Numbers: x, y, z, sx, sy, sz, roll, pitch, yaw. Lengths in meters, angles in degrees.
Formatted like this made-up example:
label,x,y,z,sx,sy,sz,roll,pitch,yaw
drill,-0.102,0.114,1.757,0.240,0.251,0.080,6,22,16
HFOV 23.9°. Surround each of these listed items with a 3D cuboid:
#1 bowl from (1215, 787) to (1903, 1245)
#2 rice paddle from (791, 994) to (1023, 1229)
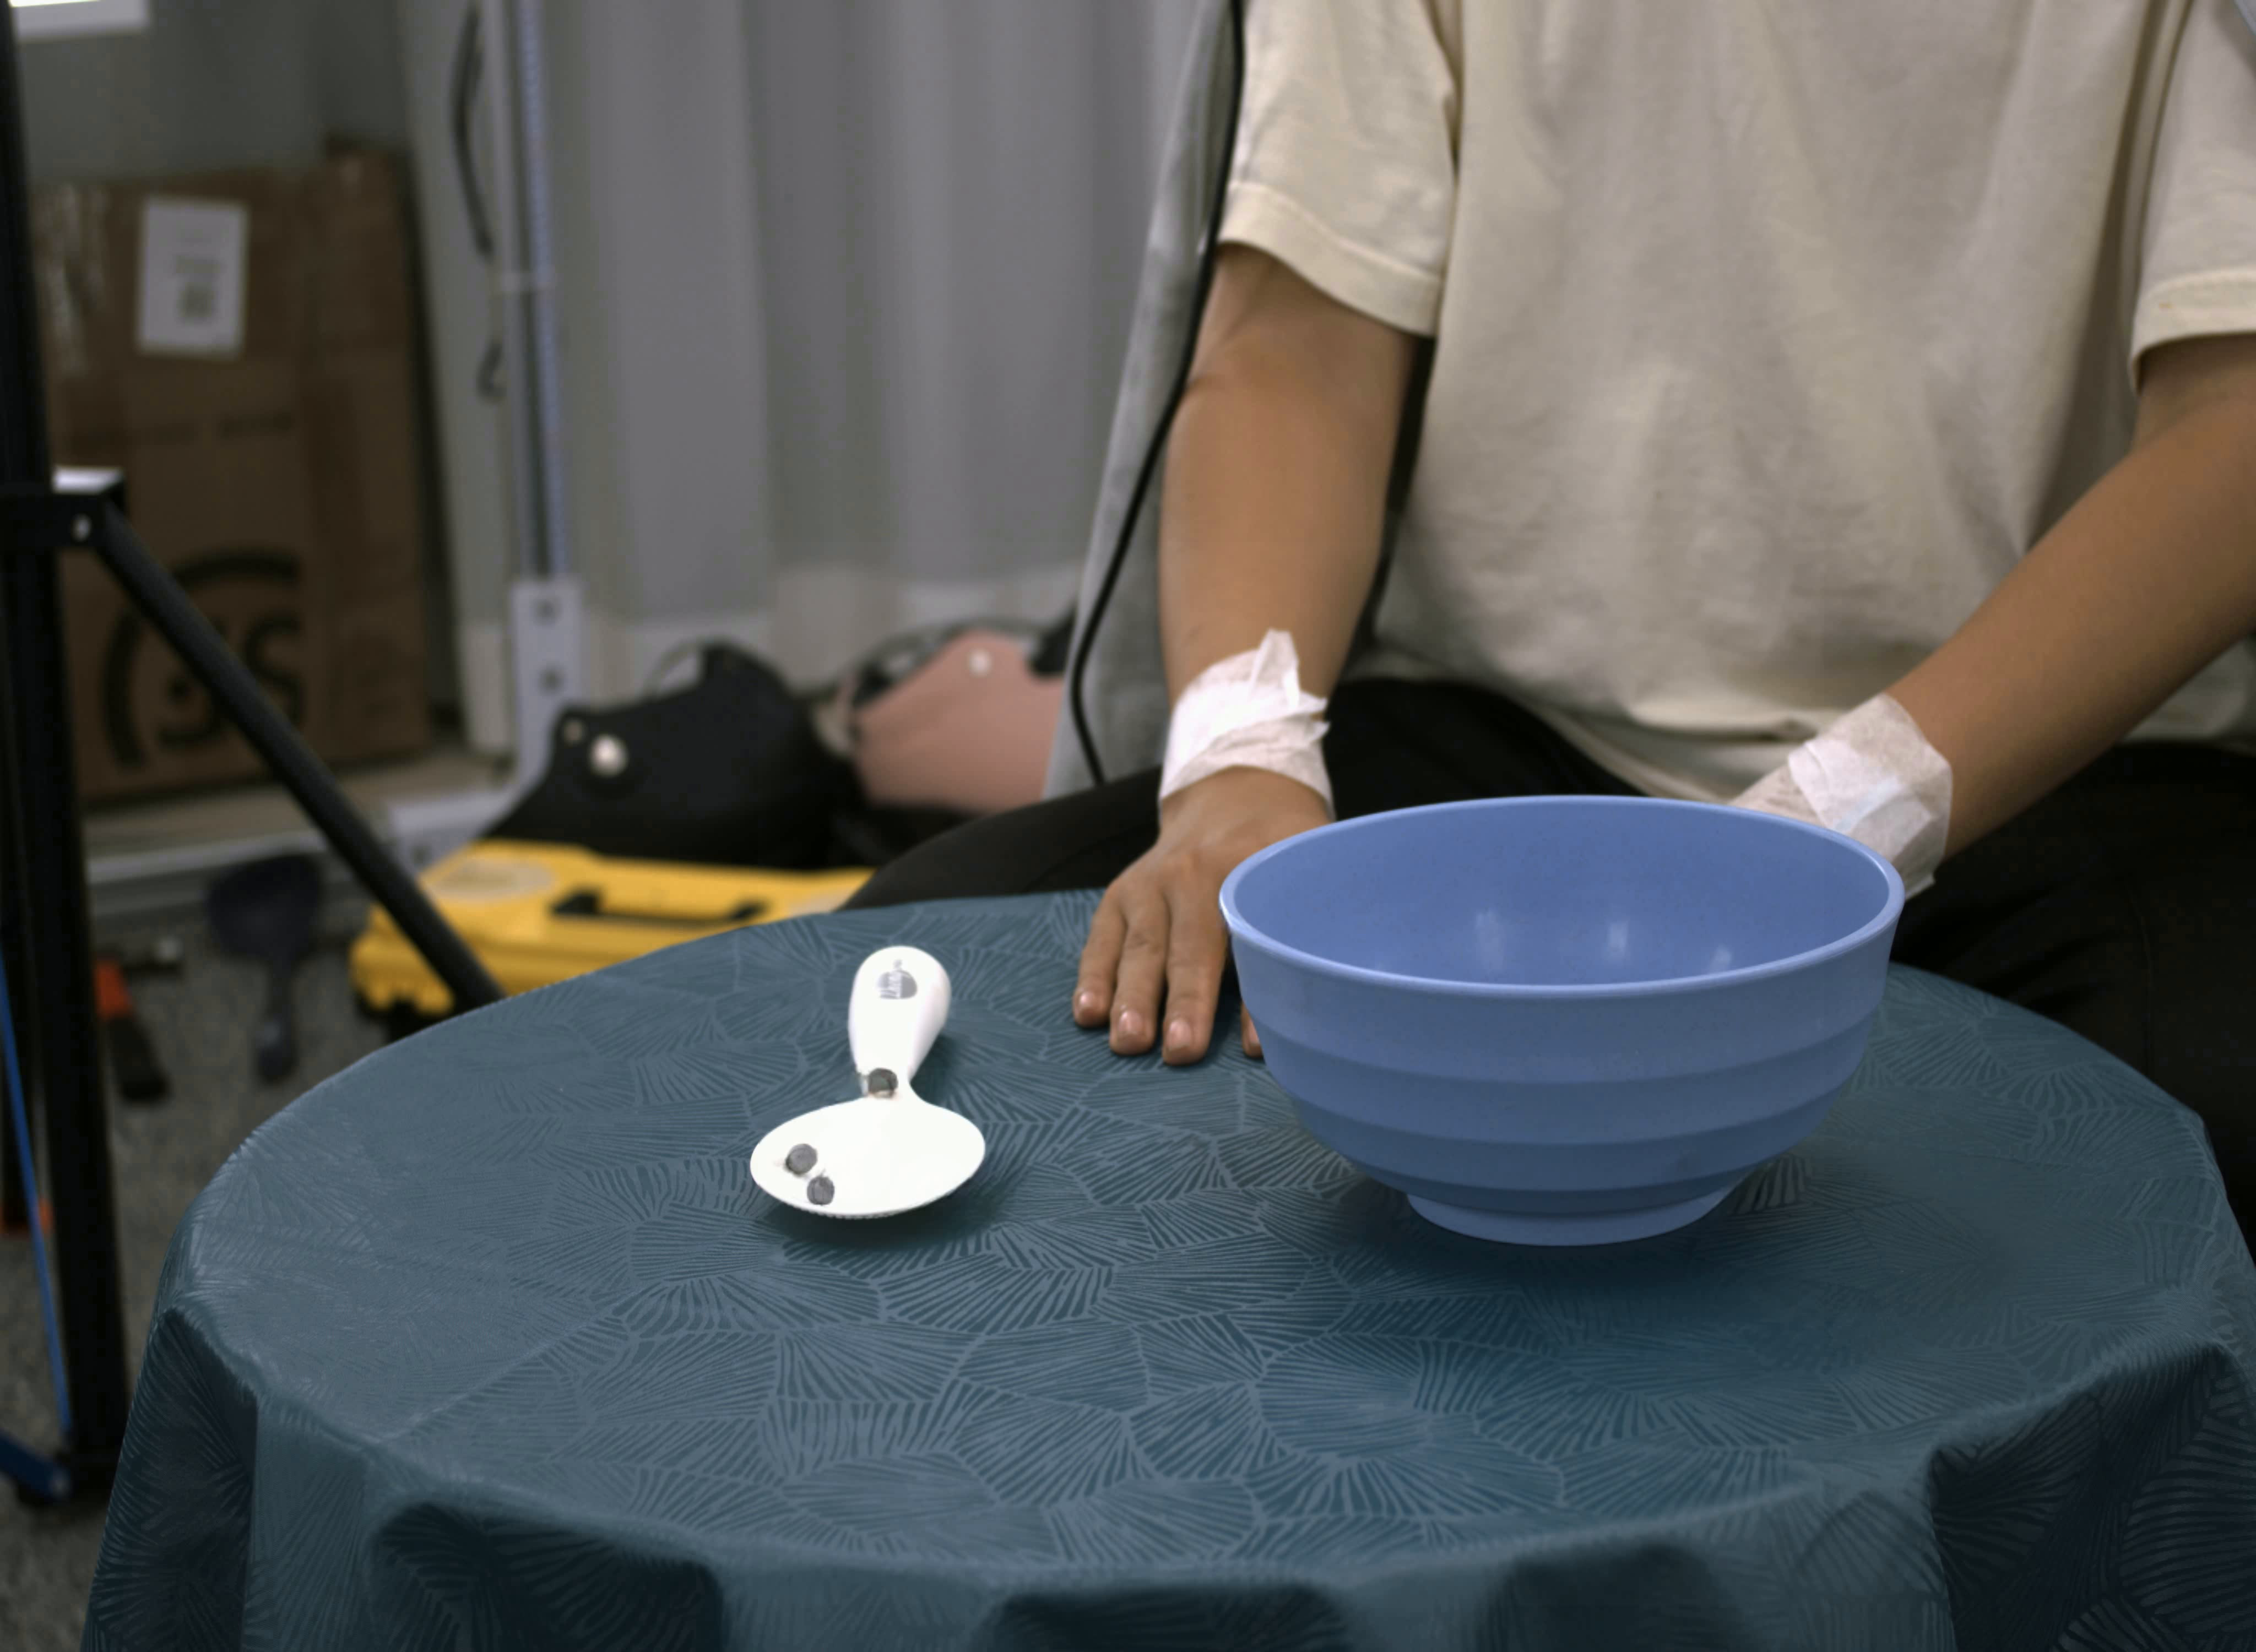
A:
label,x,y,z,sx,sy,sz,roll,pitch,yaw
bowl,0.125,0.060,1.526,0.195,0.095,0.197,-4,16,0
rice paddle,-0.073,0.088,1.602,0.068,0.029,0.207,9,10,-10
